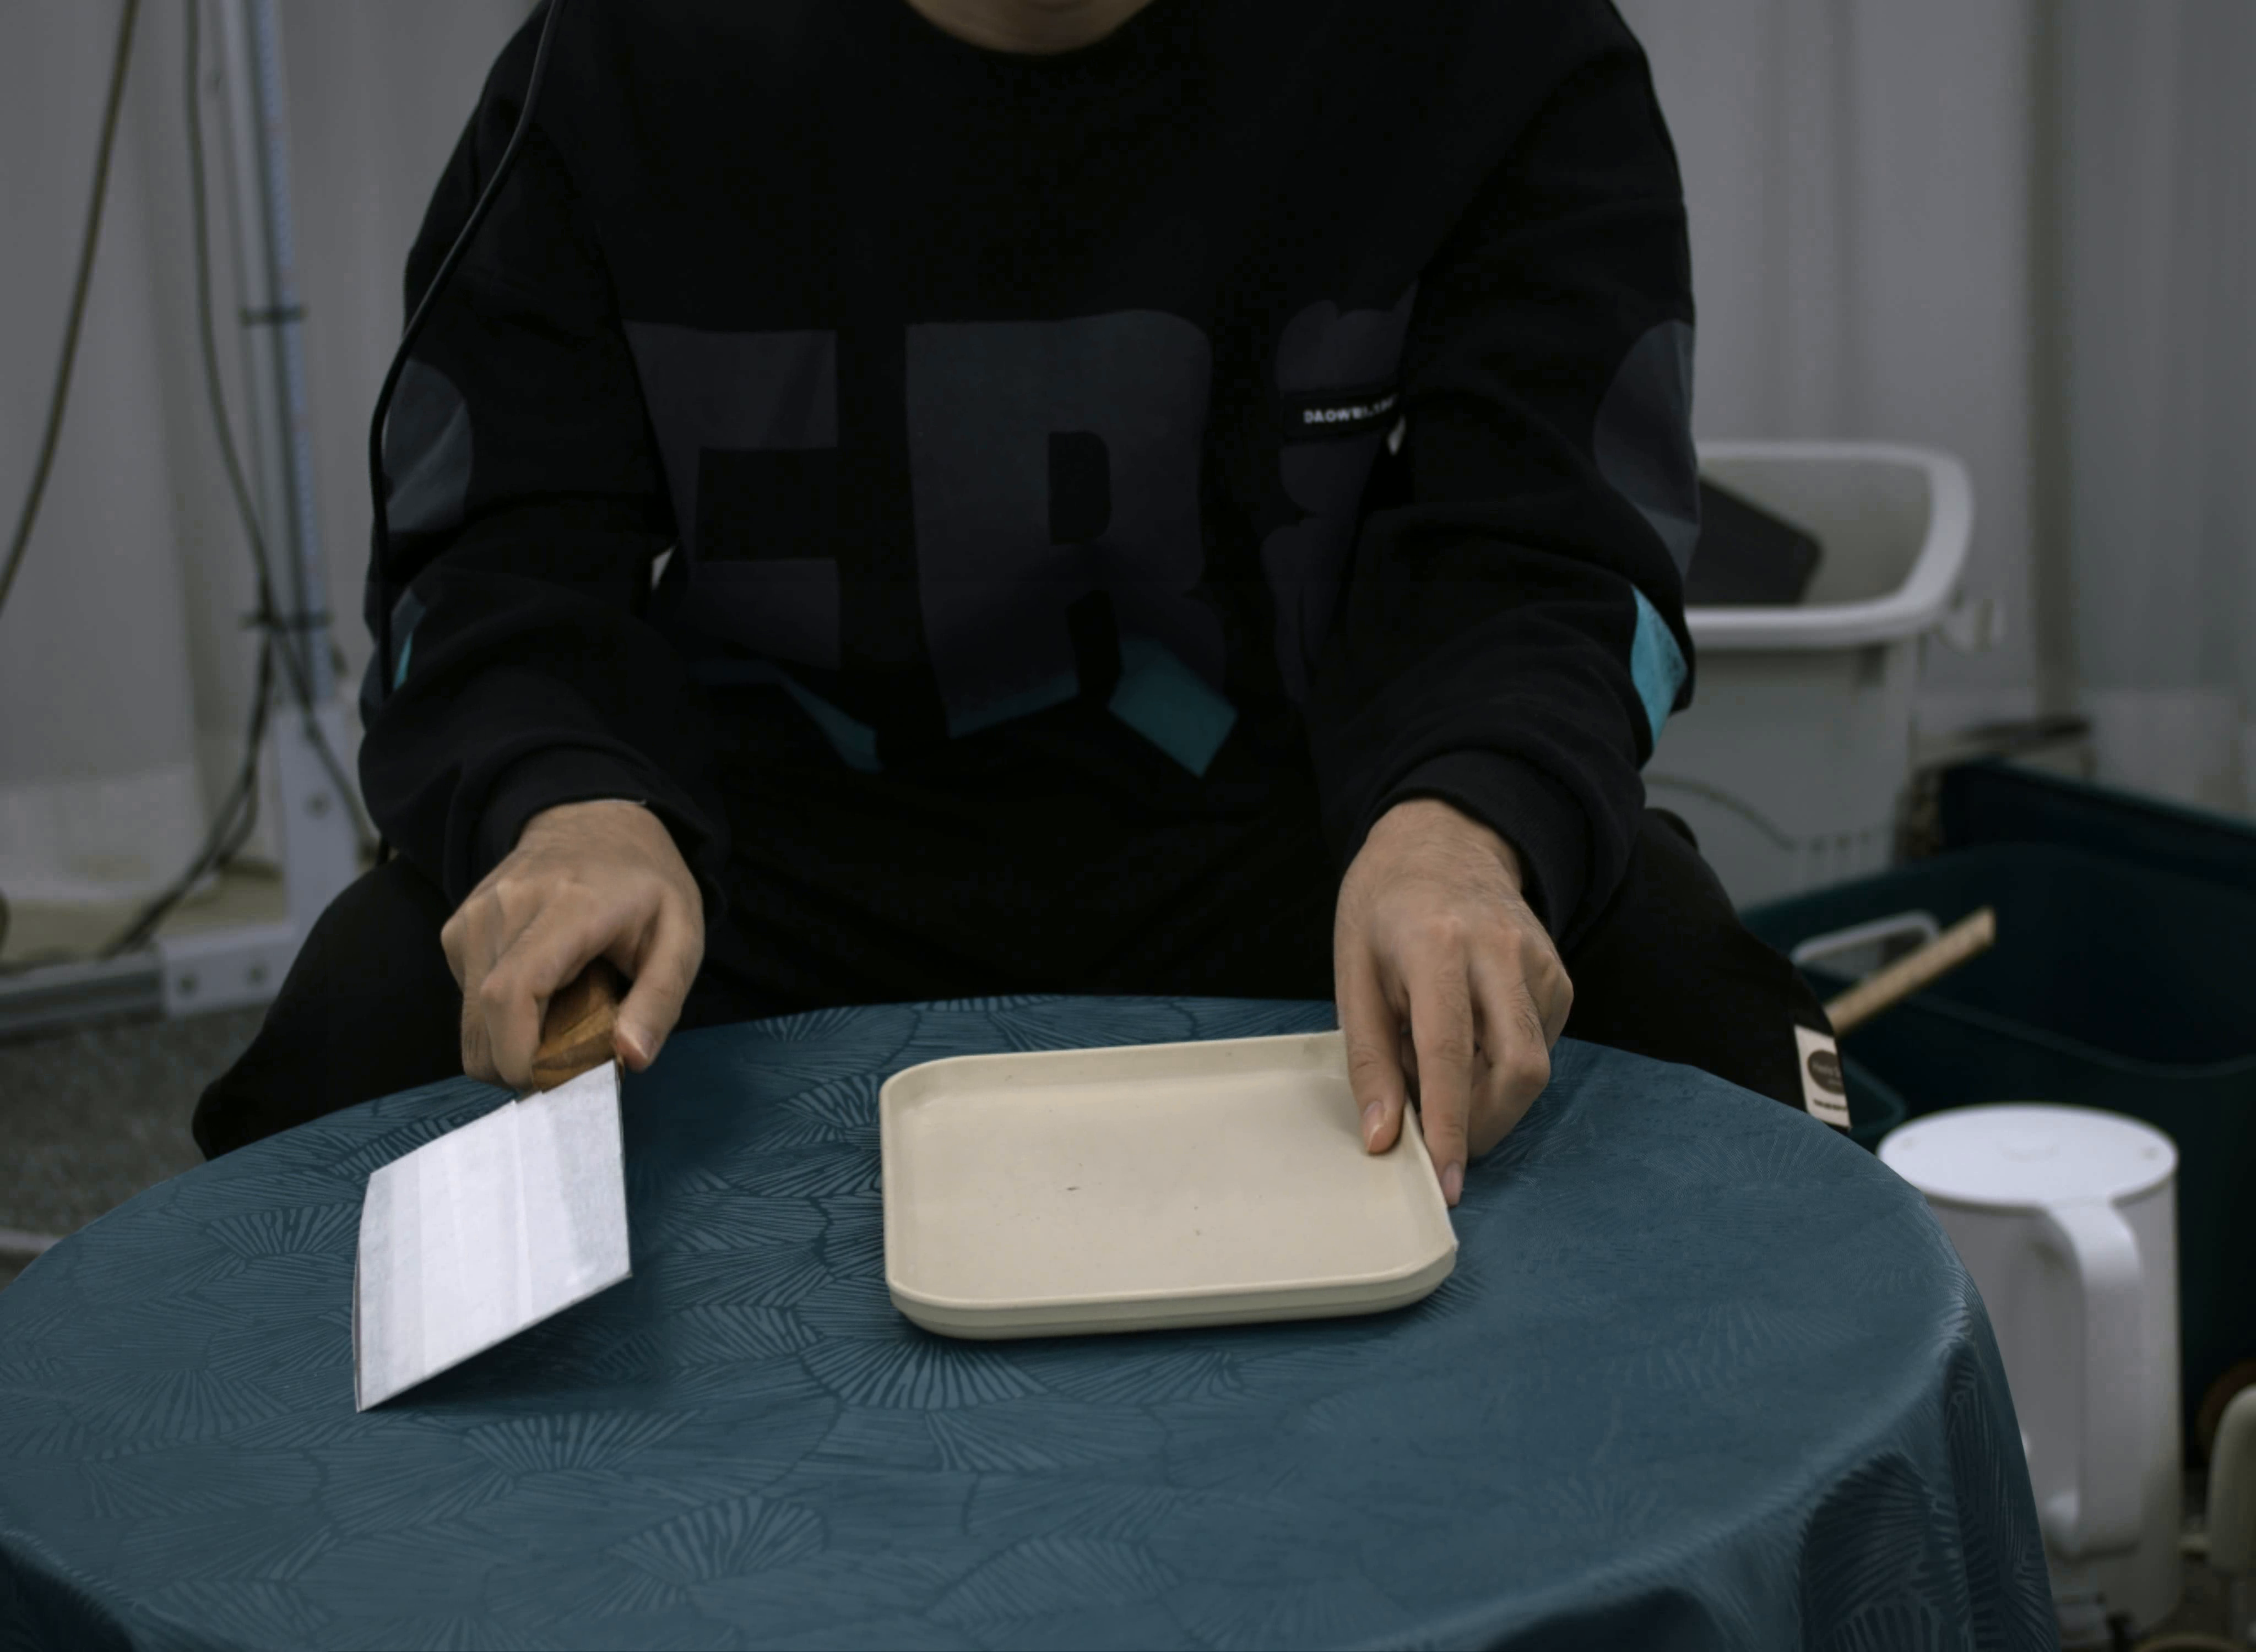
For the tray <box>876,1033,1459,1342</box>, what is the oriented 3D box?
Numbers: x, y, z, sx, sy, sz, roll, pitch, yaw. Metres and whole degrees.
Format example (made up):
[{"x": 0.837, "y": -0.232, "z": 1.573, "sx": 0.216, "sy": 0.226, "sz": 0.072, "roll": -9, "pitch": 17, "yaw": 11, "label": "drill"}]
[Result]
[{"x": 0.008, "y": 0.111, "z": 1.691, "sx": 0.170, "sy": 0.017, "sz": 0.241, "roll": -5, "pitch": 15, "yaw": -2, "label": "tray"}]

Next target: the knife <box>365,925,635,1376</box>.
[{"x": -0.197, "y": 0.101, "z": 1.706, "sx": 0.093, "sy": 0.021, "sz": 0.308, "roll": -28, "pitch": 18, "yaw": 2, "label": "knife"}]
